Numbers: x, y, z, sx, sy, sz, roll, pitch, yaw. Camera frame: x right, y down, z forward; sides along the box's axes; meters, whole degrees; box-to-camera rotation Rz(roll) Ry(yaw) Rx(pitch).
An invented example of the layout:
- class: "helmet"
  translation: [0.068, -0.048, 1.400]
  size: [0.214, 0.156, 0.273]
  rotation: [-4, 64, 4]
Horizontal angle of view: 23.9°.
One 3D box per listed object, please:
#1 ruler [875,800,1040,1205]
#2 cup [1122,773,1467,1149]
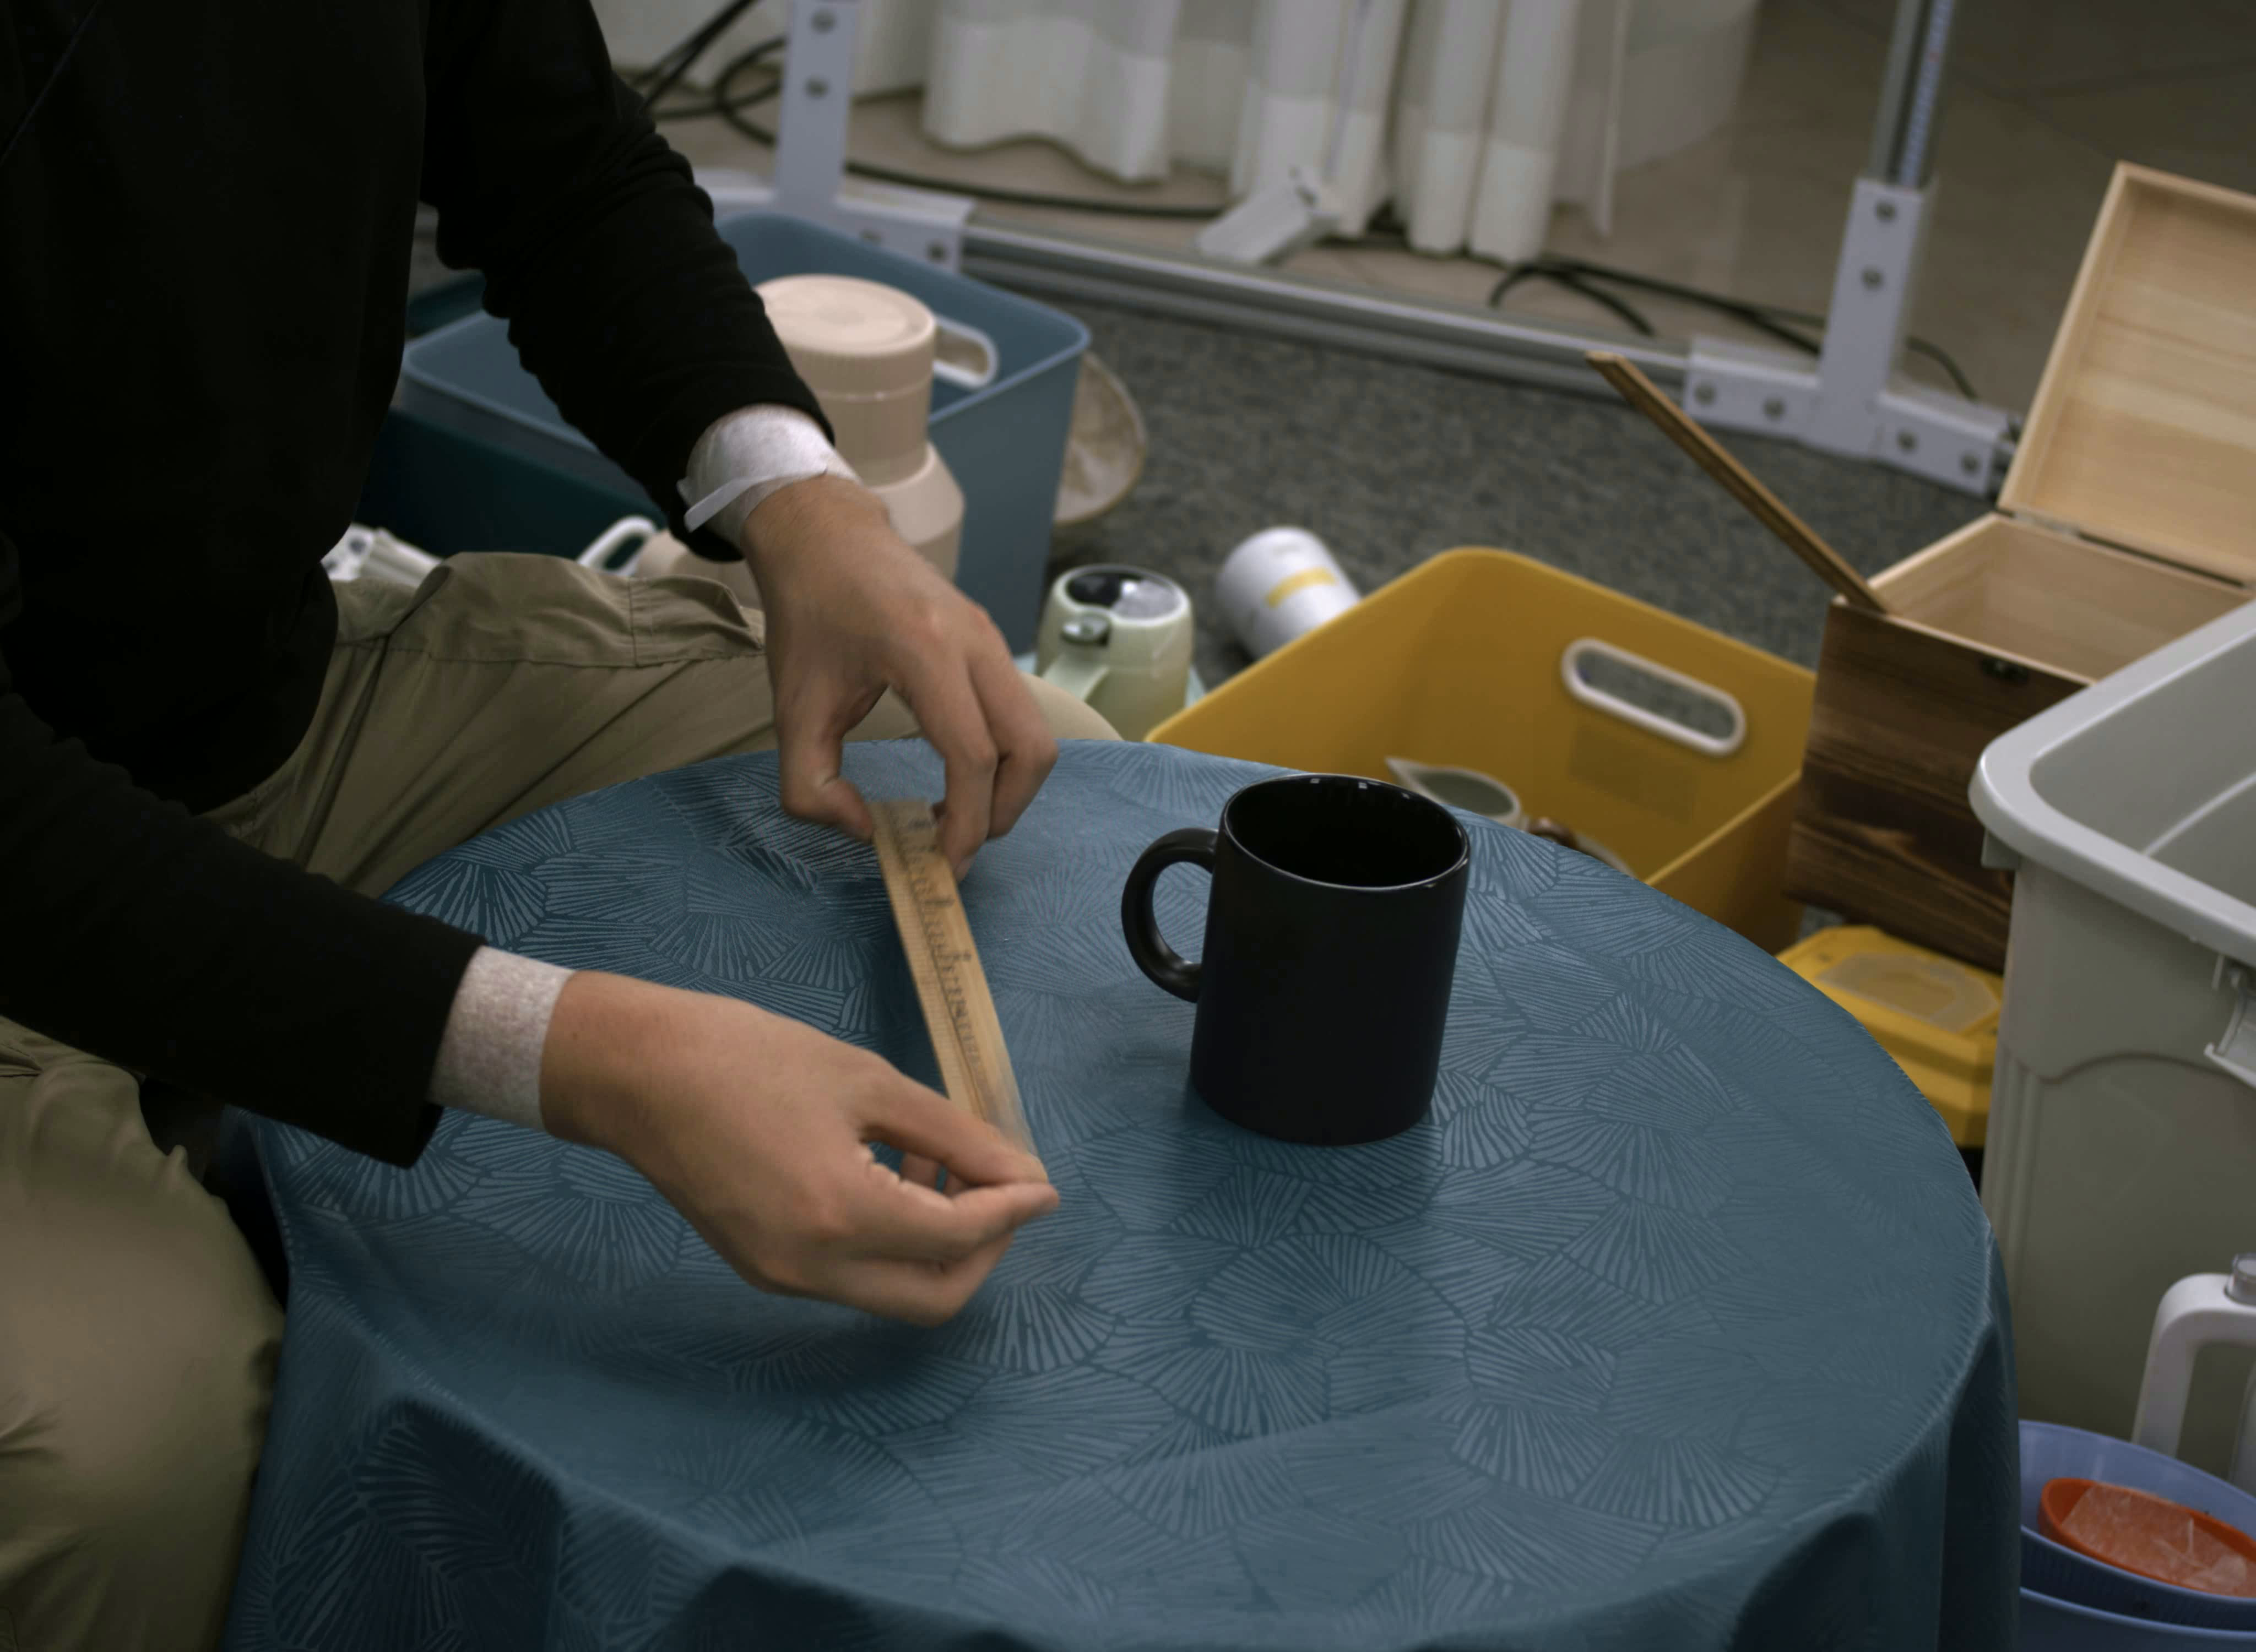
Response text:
- class: "ruler"
  translation: [-0.062, 0.054, 1.849]
  size: [0.027, 0.022, 0.334]
  rotation: [3, 21, -9]
- class: "cup"
  translation: [0.054, 0.042, 1.863]
  size: [0.124, 0.105, 0.088]
  rotation: [18, 30, 23]
